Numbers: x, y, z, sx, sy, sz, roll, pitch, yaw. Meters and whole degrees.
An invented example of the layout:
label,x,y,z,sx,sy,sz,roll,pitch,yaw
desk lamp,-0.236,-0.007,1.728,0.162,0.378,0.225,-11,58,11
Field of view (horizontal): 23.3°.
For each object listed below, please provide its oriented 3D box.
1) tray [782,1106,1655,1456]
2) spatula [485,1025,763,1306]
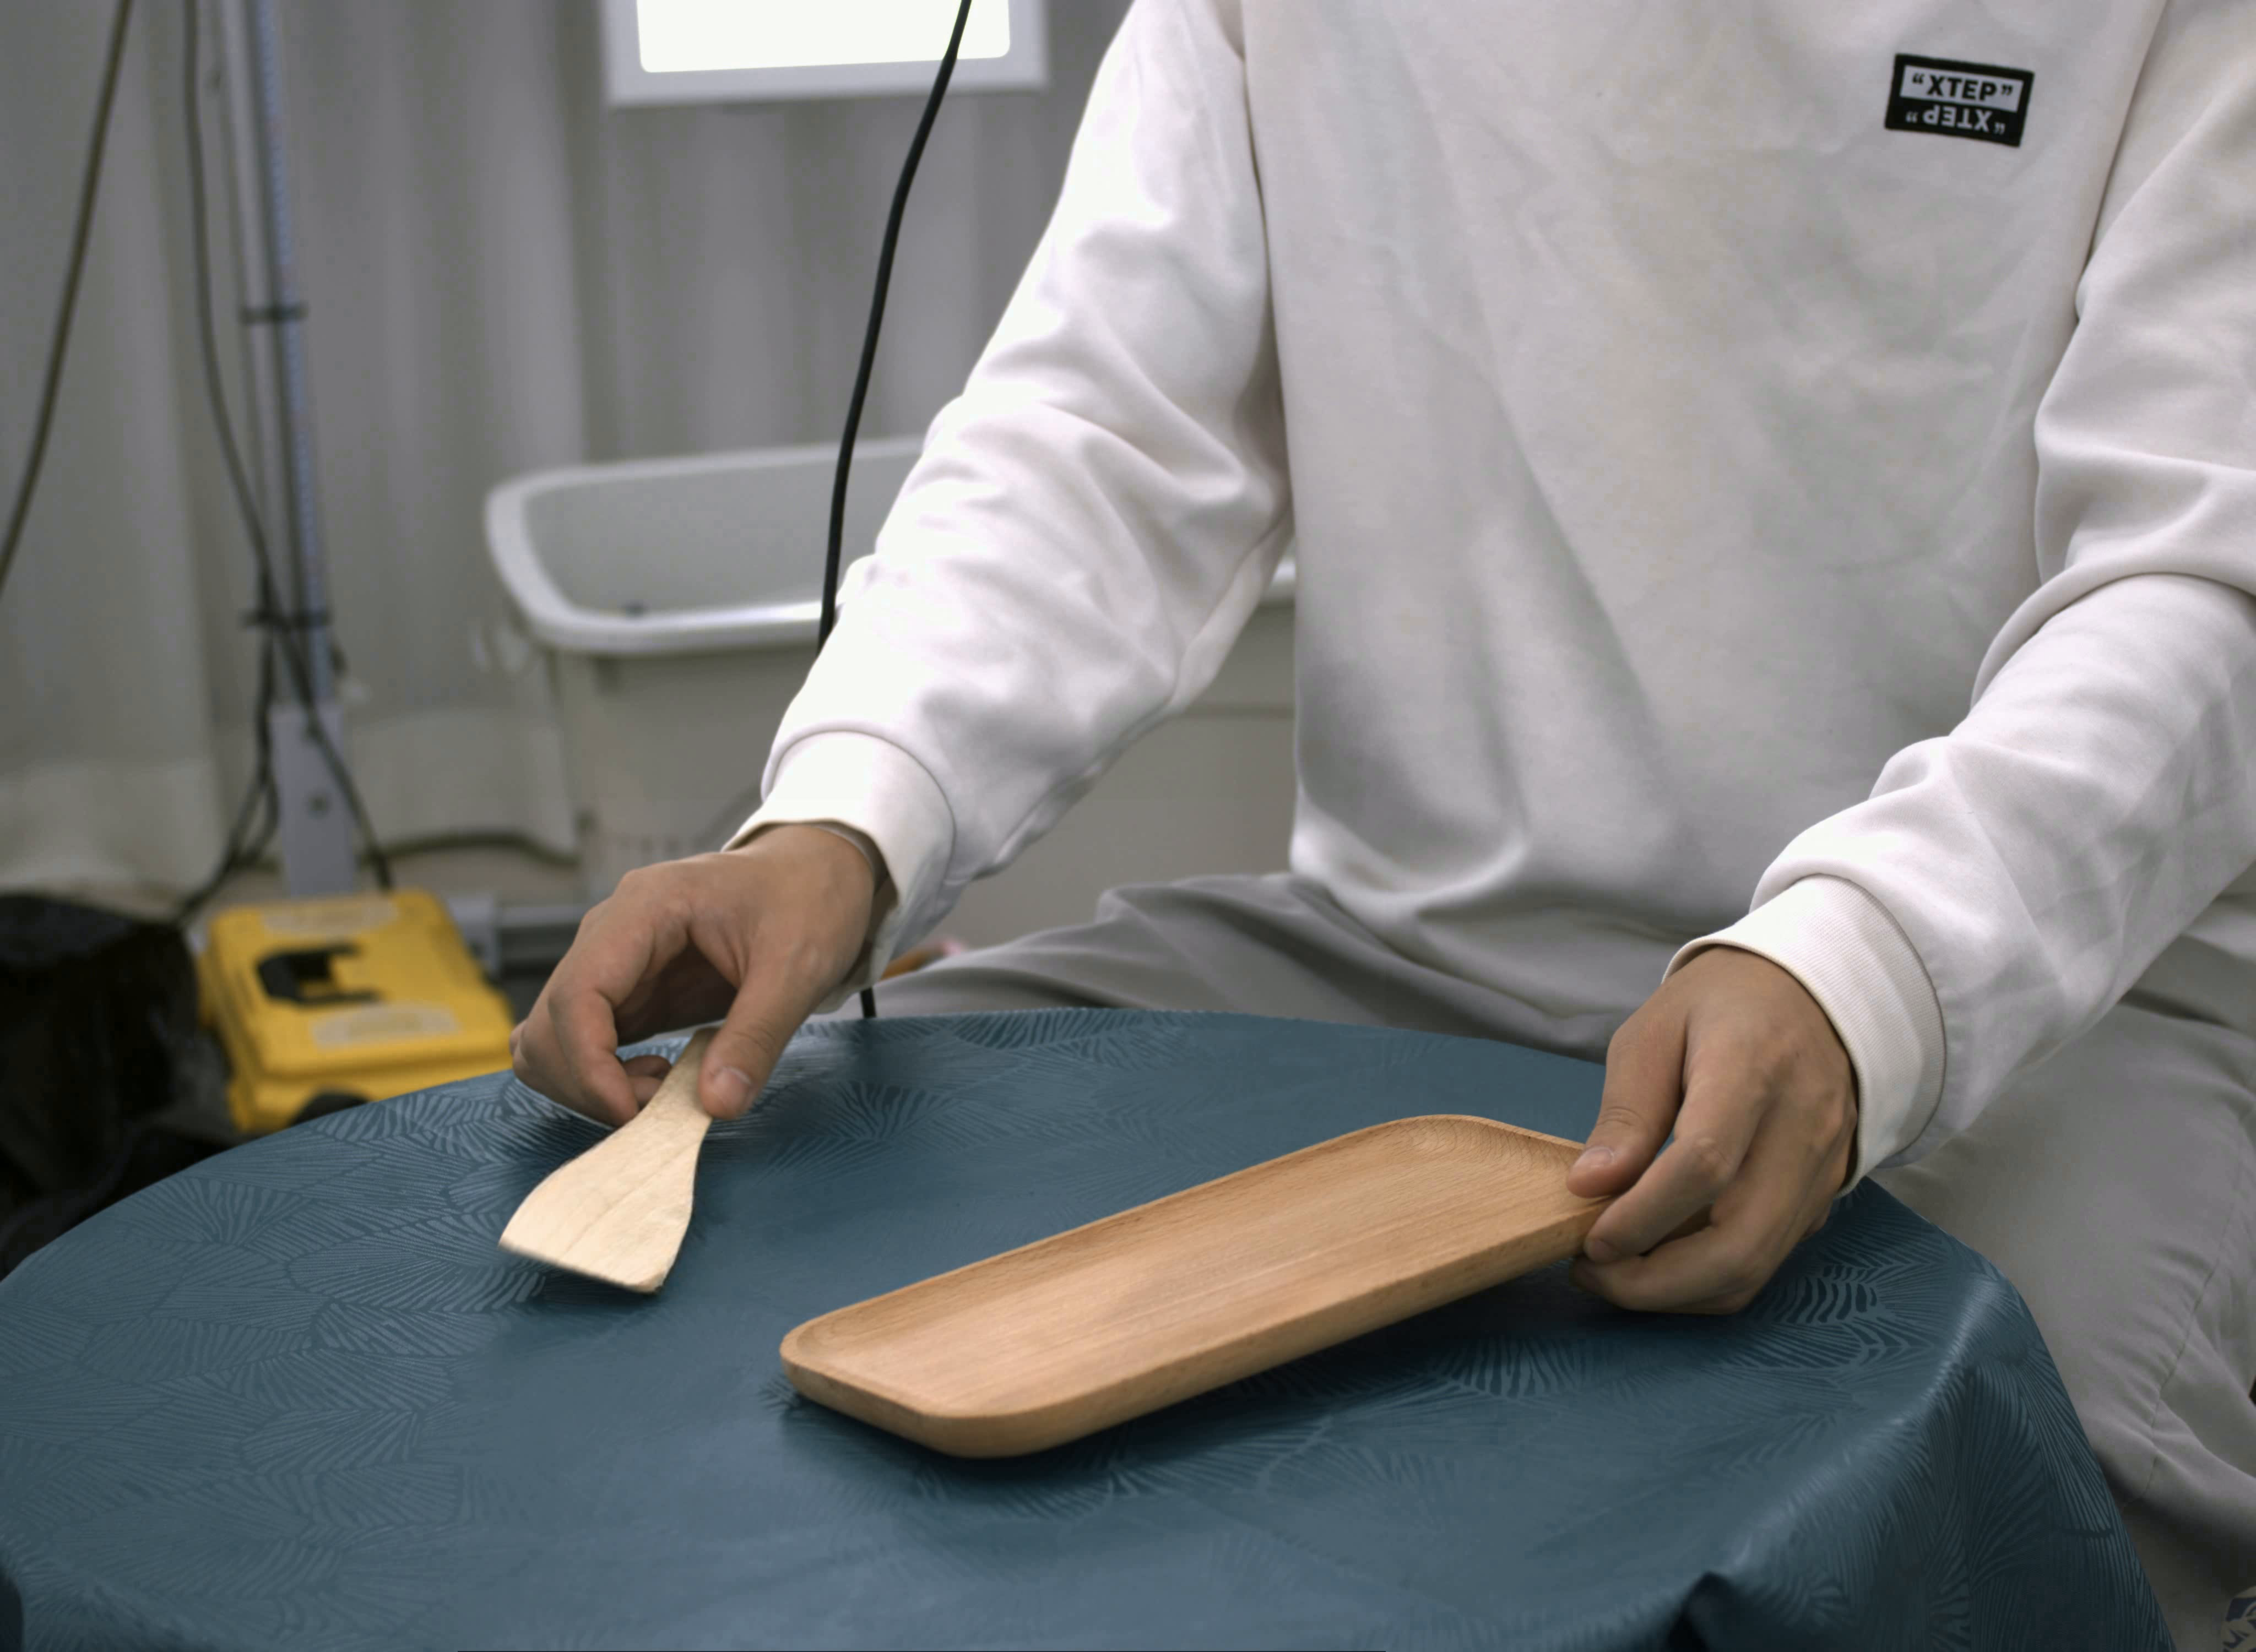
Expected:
label,x,y,z,sx,sy,sz,roll,pitch,yaw
tray,0.028,0.129,1.579,0.250,0.023,0.131,-16,18,-31
spatula,-0.150,0.104,1.726,0.050,0.005,0.209,13,22,7
